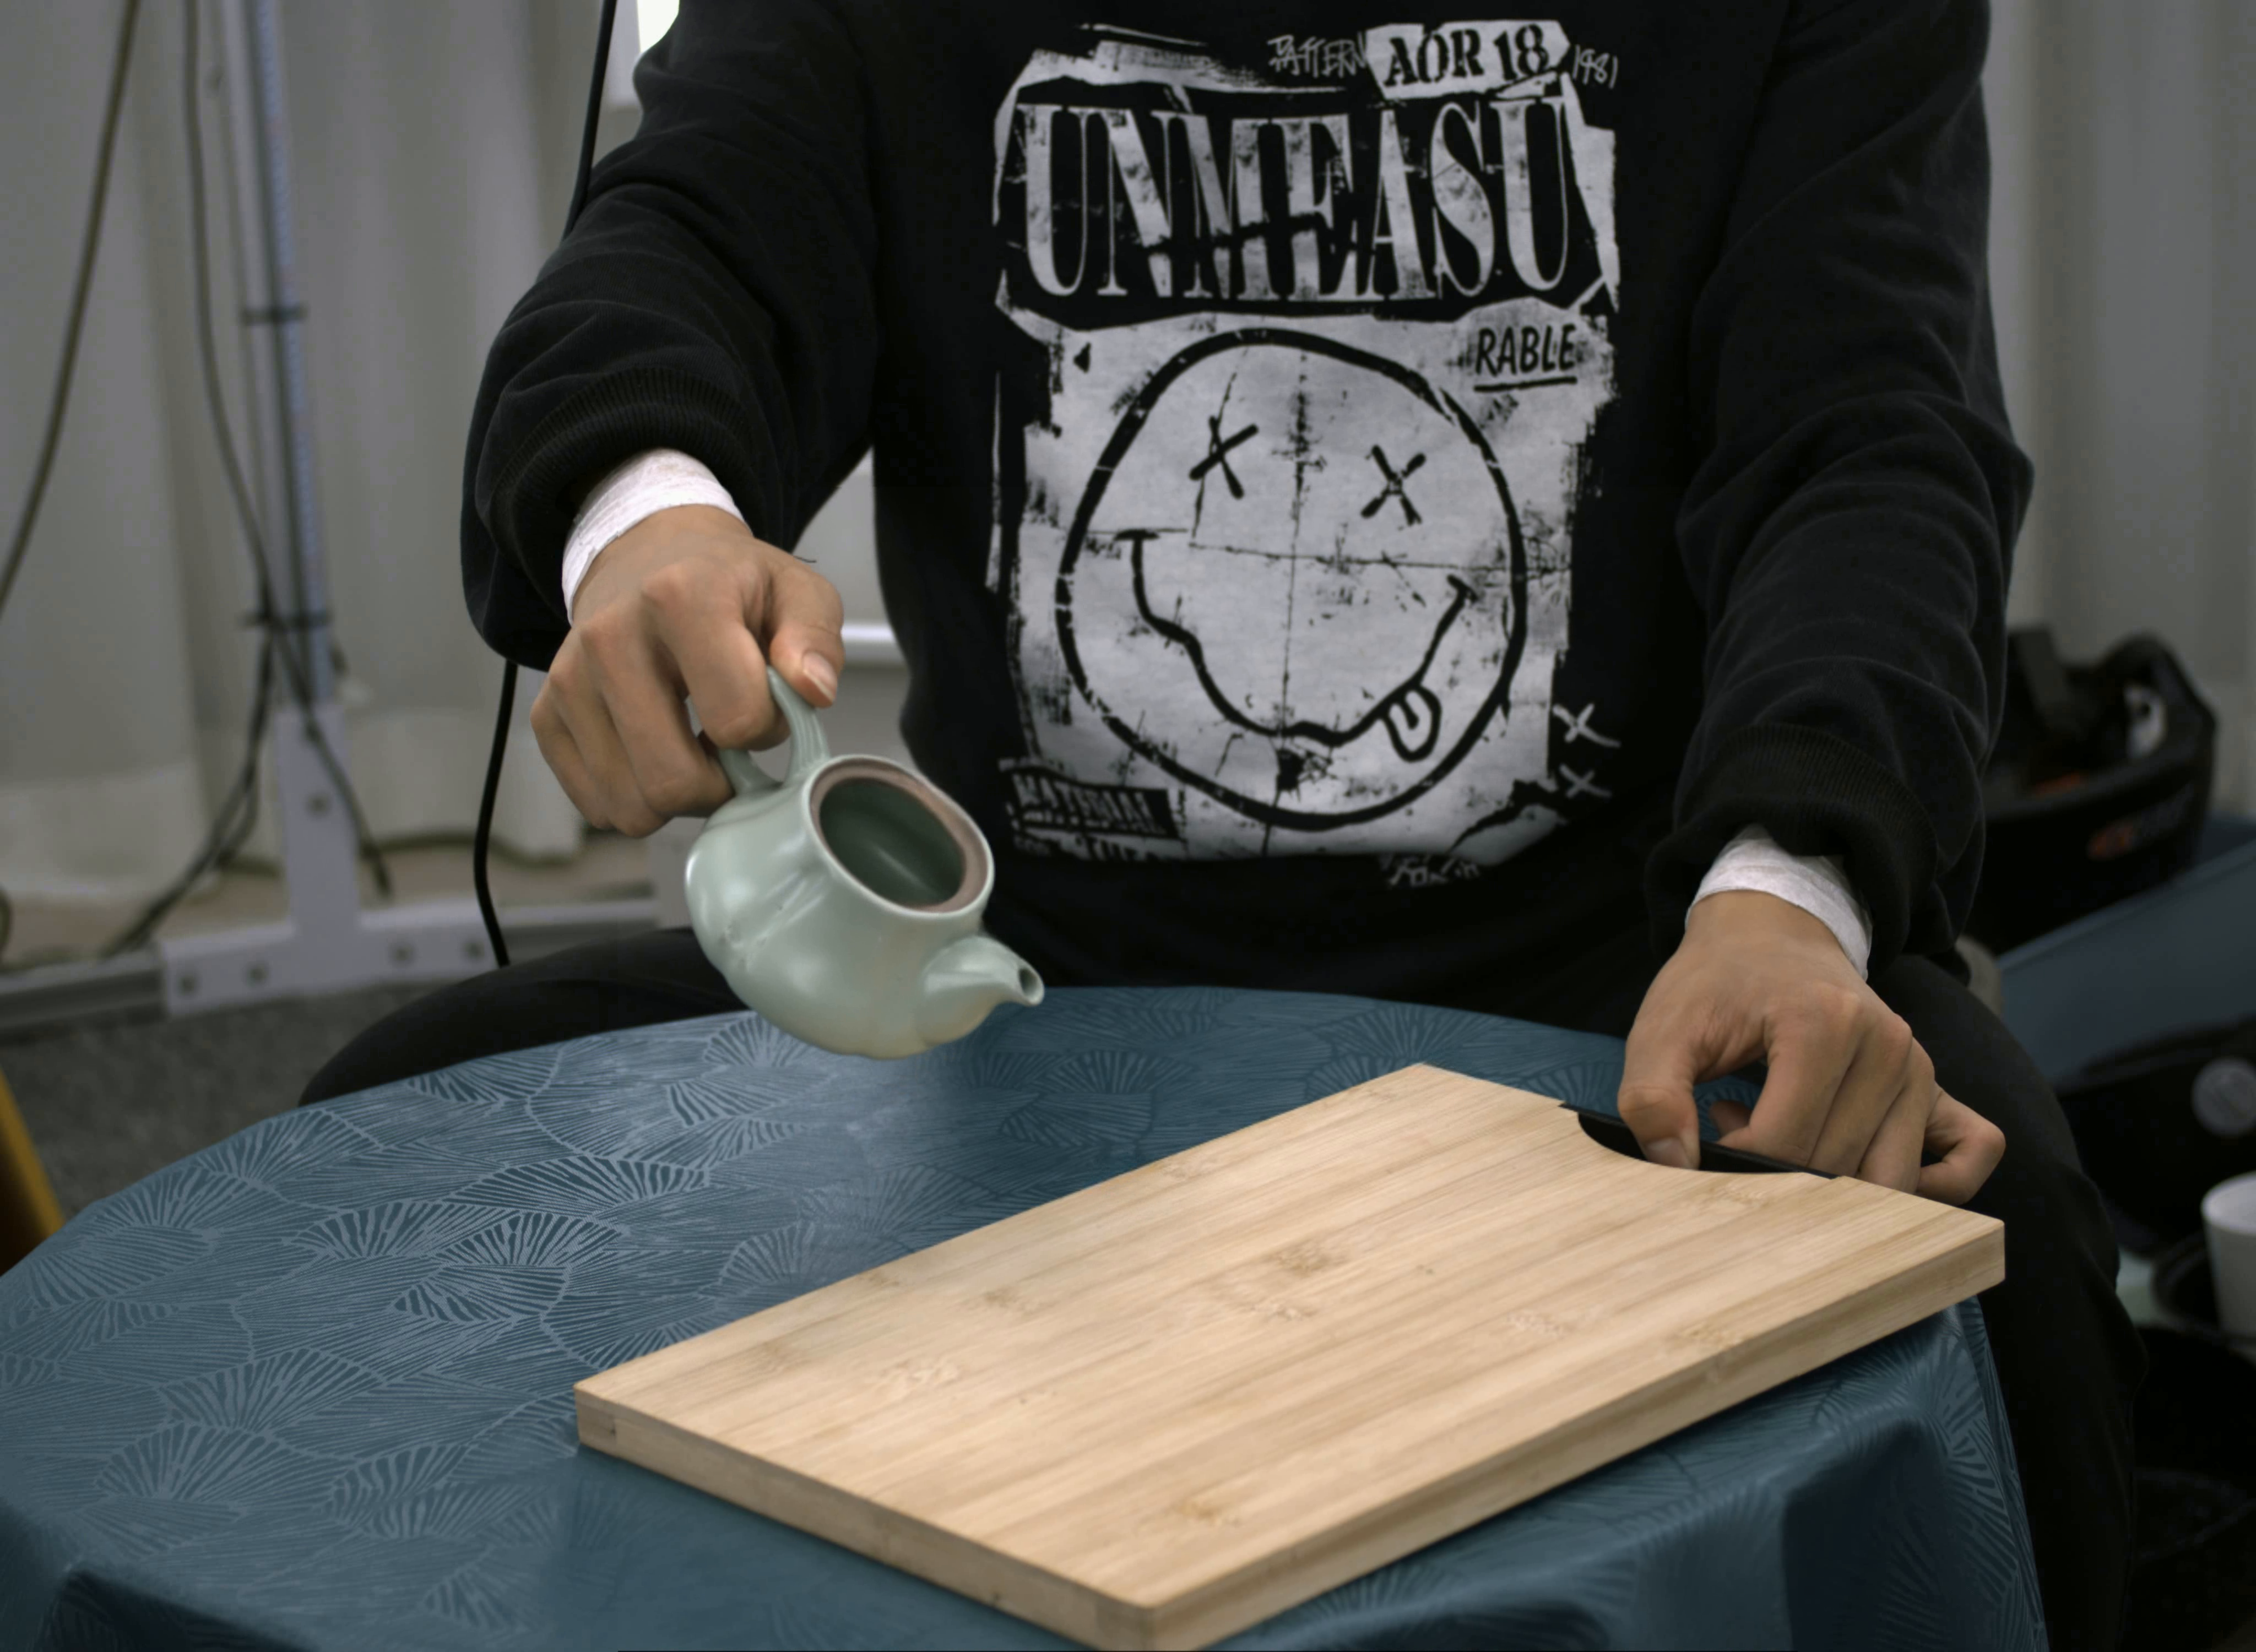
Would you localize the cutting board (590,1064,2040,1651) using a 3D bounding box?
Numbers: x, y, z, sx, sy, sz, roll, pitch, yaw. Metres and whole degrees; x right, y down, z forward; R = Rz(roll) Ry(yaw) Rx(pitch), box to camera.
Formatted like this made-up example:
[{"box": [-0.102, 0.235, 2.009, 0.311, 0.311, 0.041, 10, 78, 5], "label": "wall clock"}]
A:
[{"box": [0.053, 0.143, 1.549, 0.348, 0.023, 0.252, -18, 21, -40], "label": "cutting board"}]

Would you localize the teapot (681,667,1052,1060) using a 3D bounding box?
[{"box": [-0.081, 0.016, 1.579, 0.138, 0.061, 0.096, 49, 39, 15], "label": "teapot"}]
